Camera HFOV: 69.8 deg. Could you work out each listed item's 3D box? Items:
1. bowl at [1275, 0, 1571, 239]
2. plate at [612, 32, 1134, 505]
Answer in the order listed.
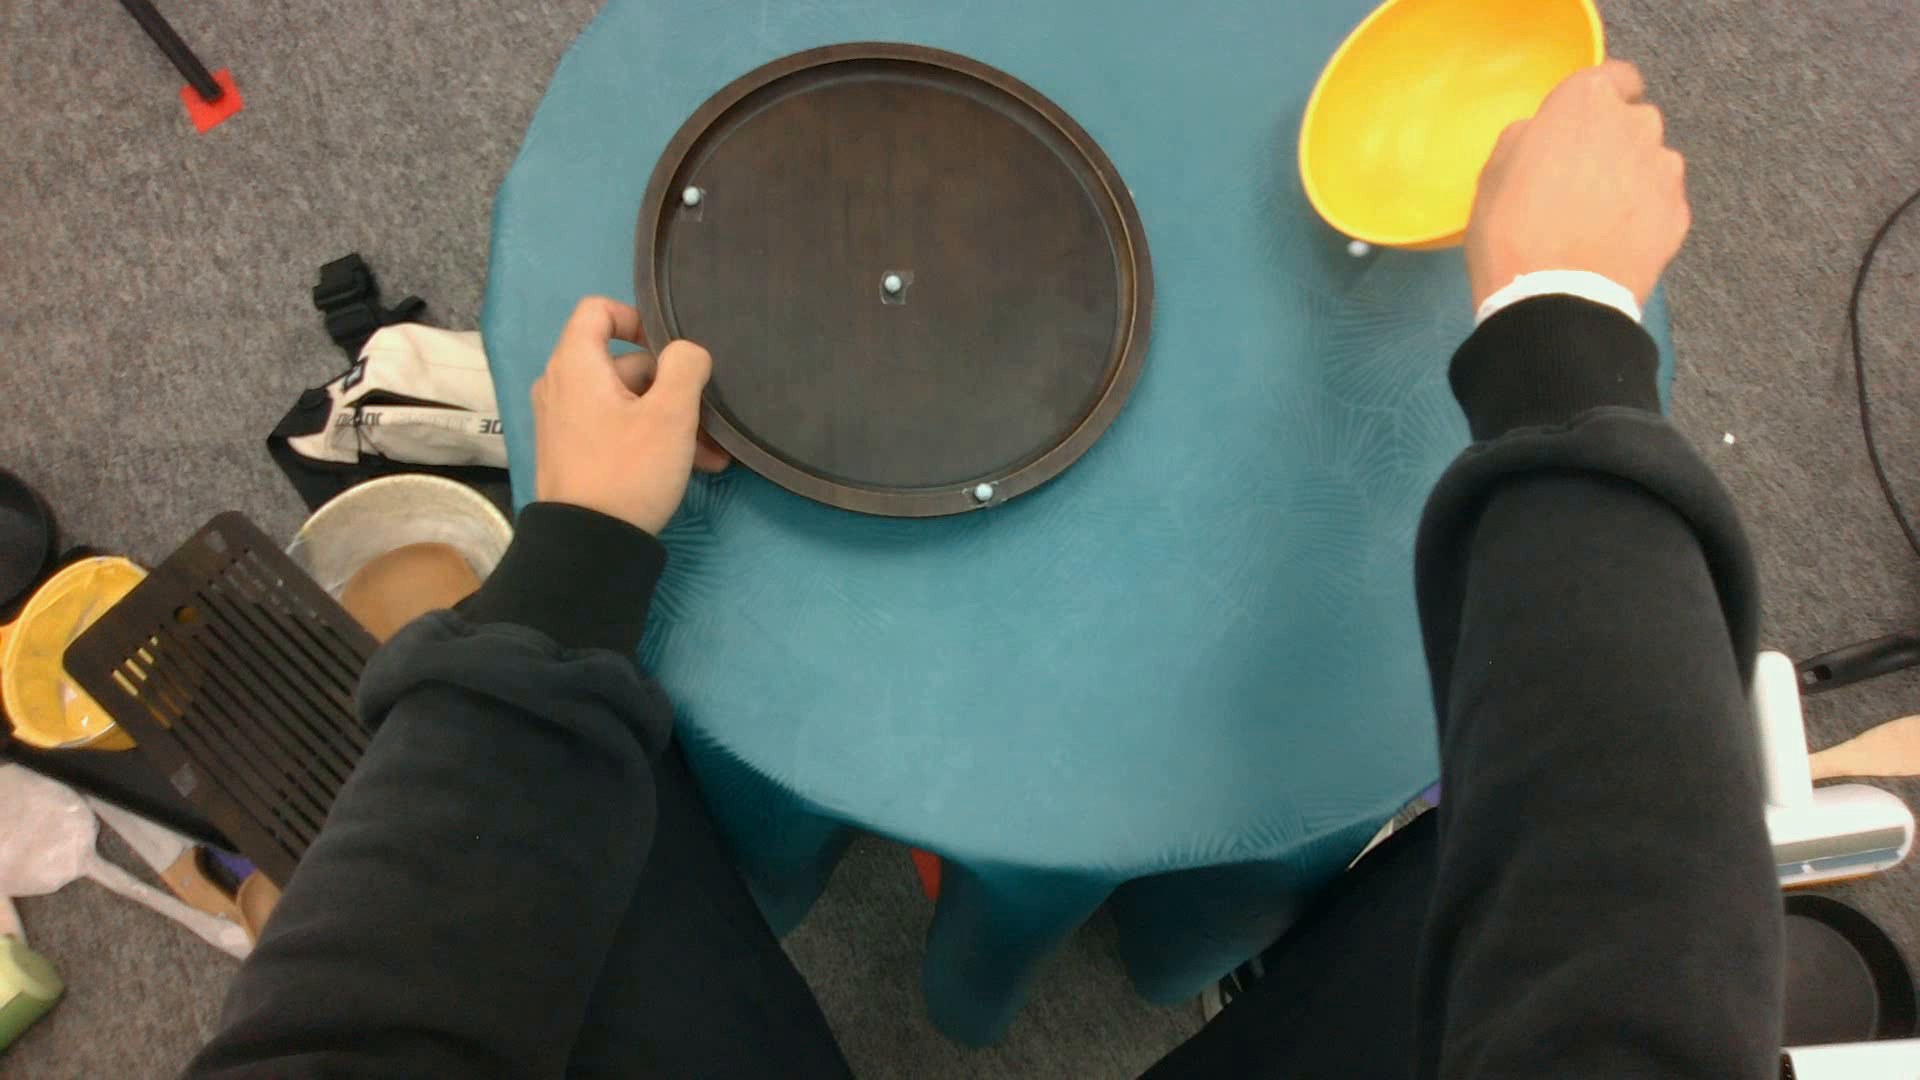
[{"bbox_3d":[0.232,-0.205,0.671,0.145,0.060,0.146,-16,65,38],"label":"bowl"},{"bbox_3d":[-0.039,-0.135,0.670,0.255,0.029,0.255,3,74,-11],"label":"plate"}]
